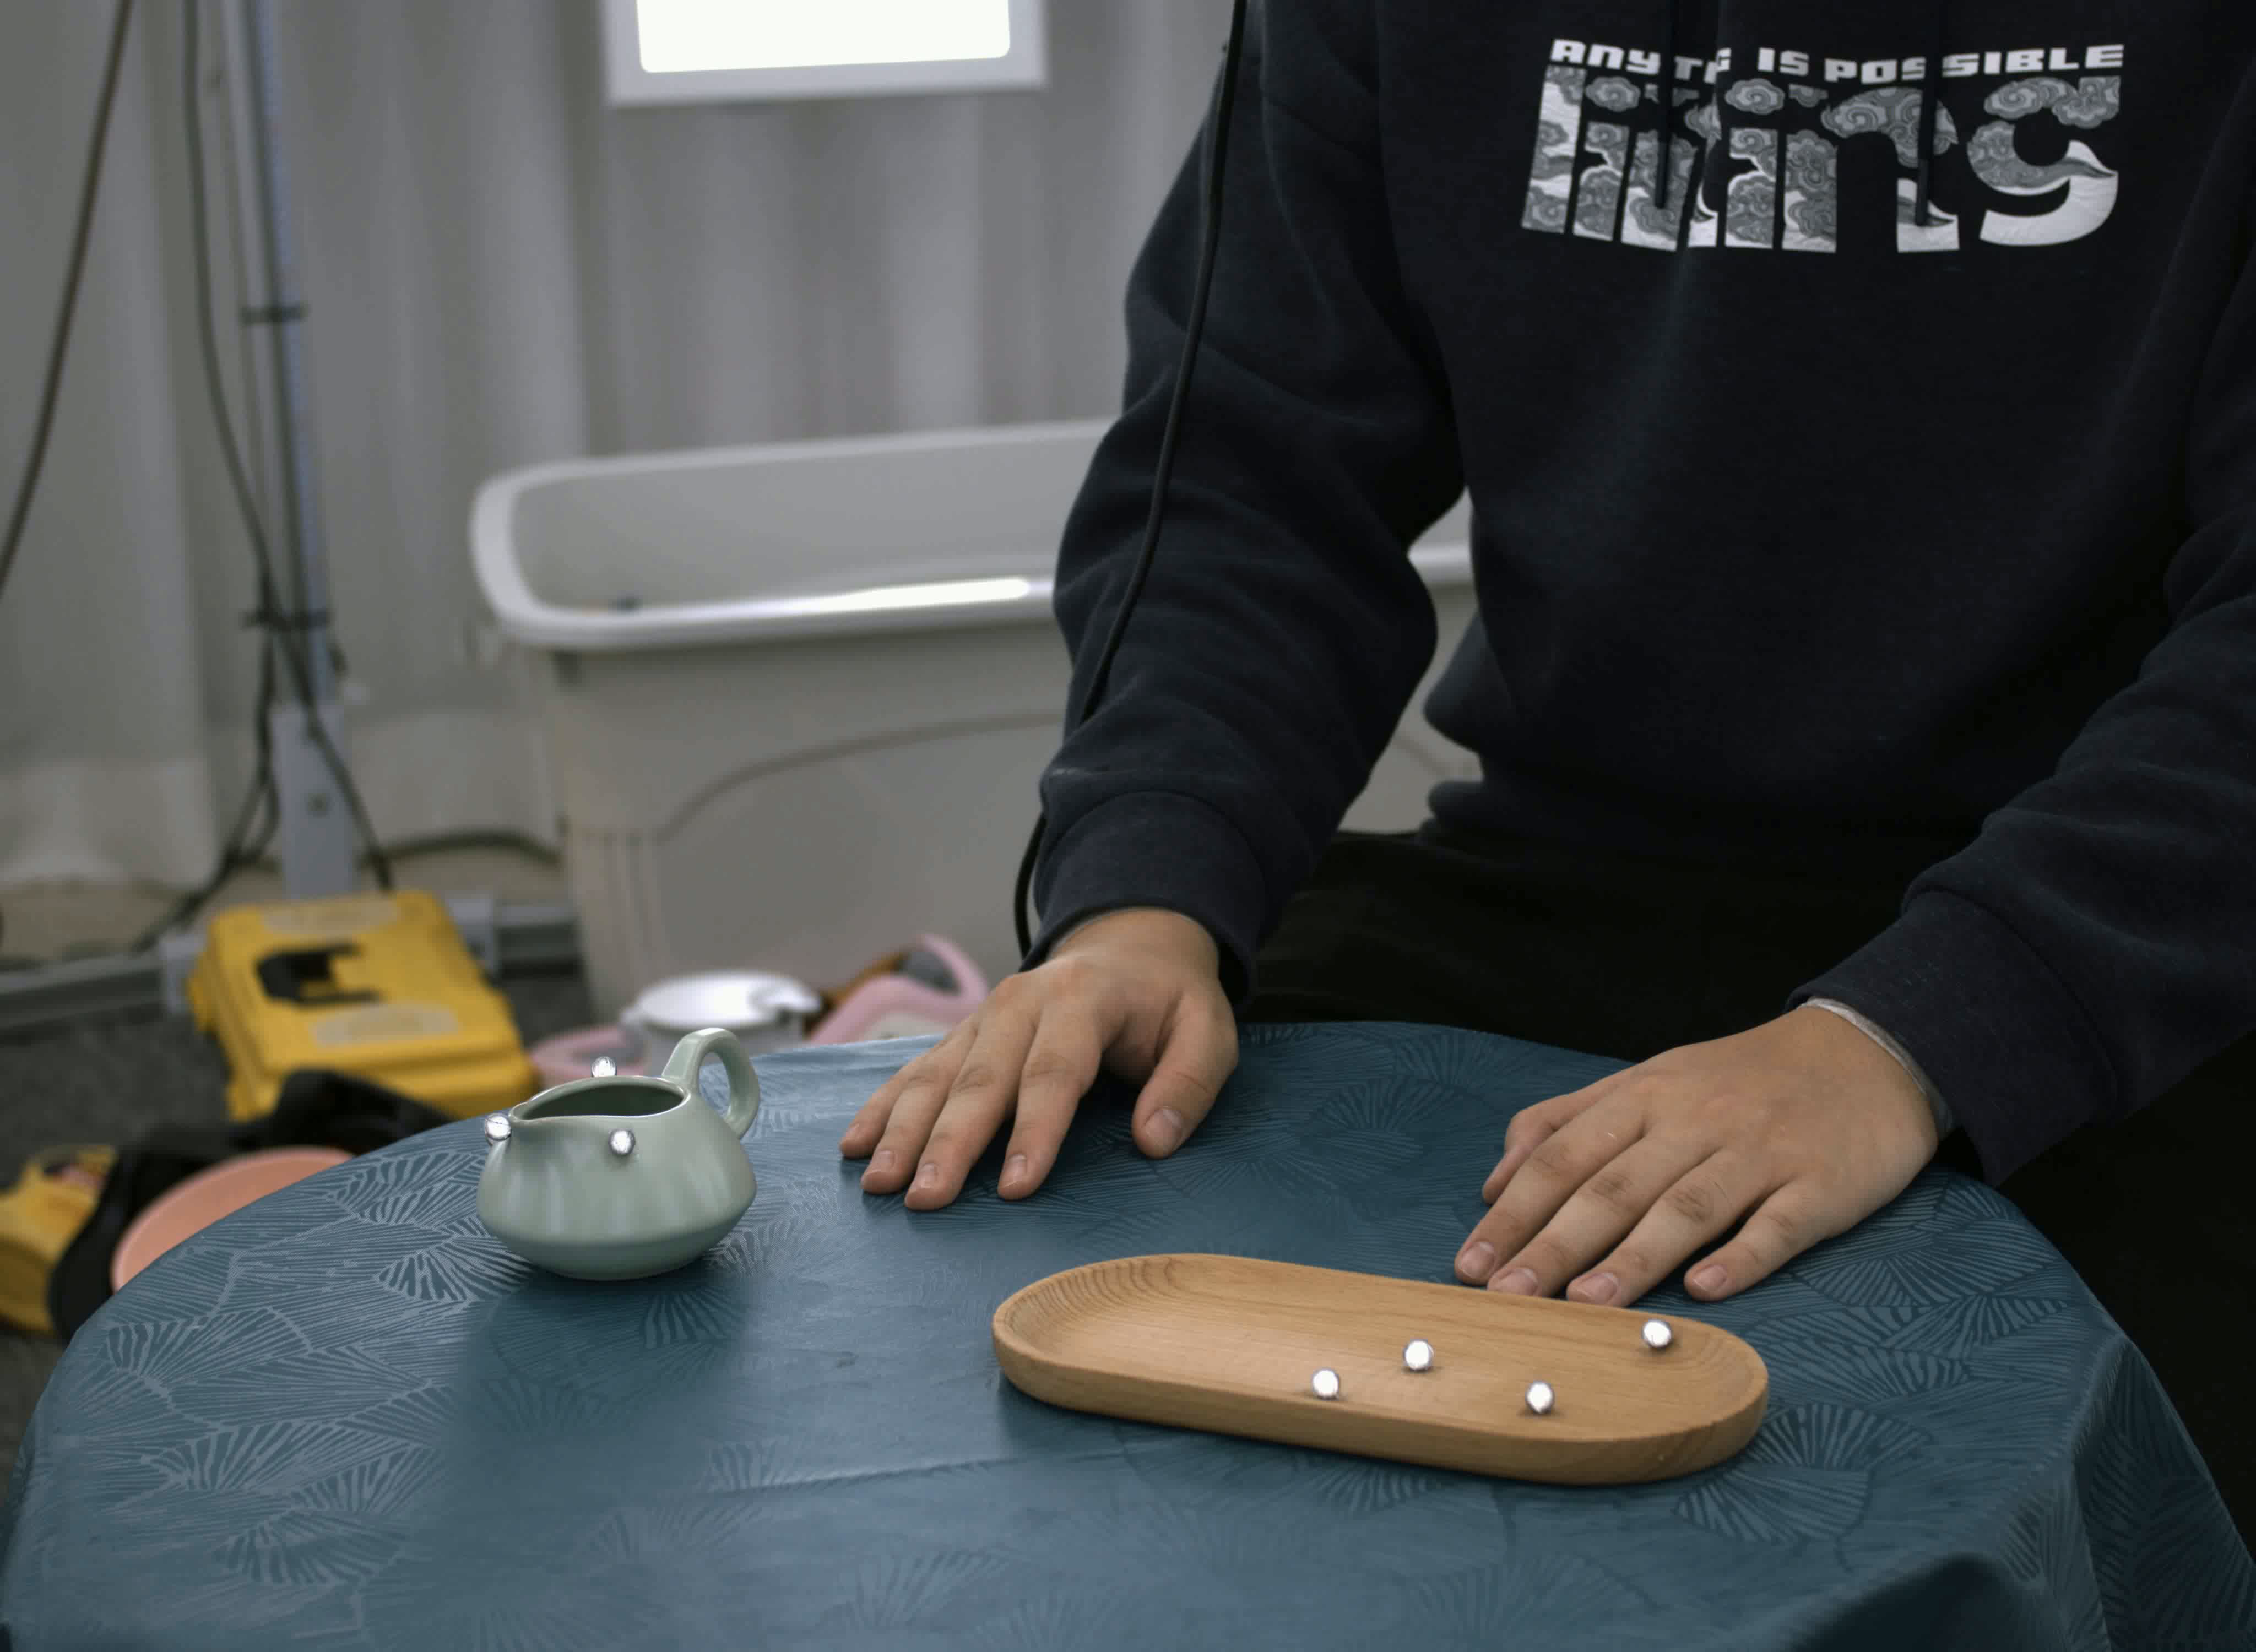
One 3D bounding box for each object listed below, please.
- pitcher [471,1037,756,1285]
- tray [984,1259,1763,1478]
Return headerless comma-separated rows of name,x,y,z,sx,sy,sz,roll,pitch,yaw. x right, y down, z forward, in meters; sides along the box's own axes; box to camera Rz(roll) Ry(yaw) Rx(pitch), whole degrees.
pitcher,-0.151,0.103,1.681,0.086,0.060,0.108,8,16,33
tray,0.067,0.152,1.536,0.231,0.020,0.102,3,14,28
